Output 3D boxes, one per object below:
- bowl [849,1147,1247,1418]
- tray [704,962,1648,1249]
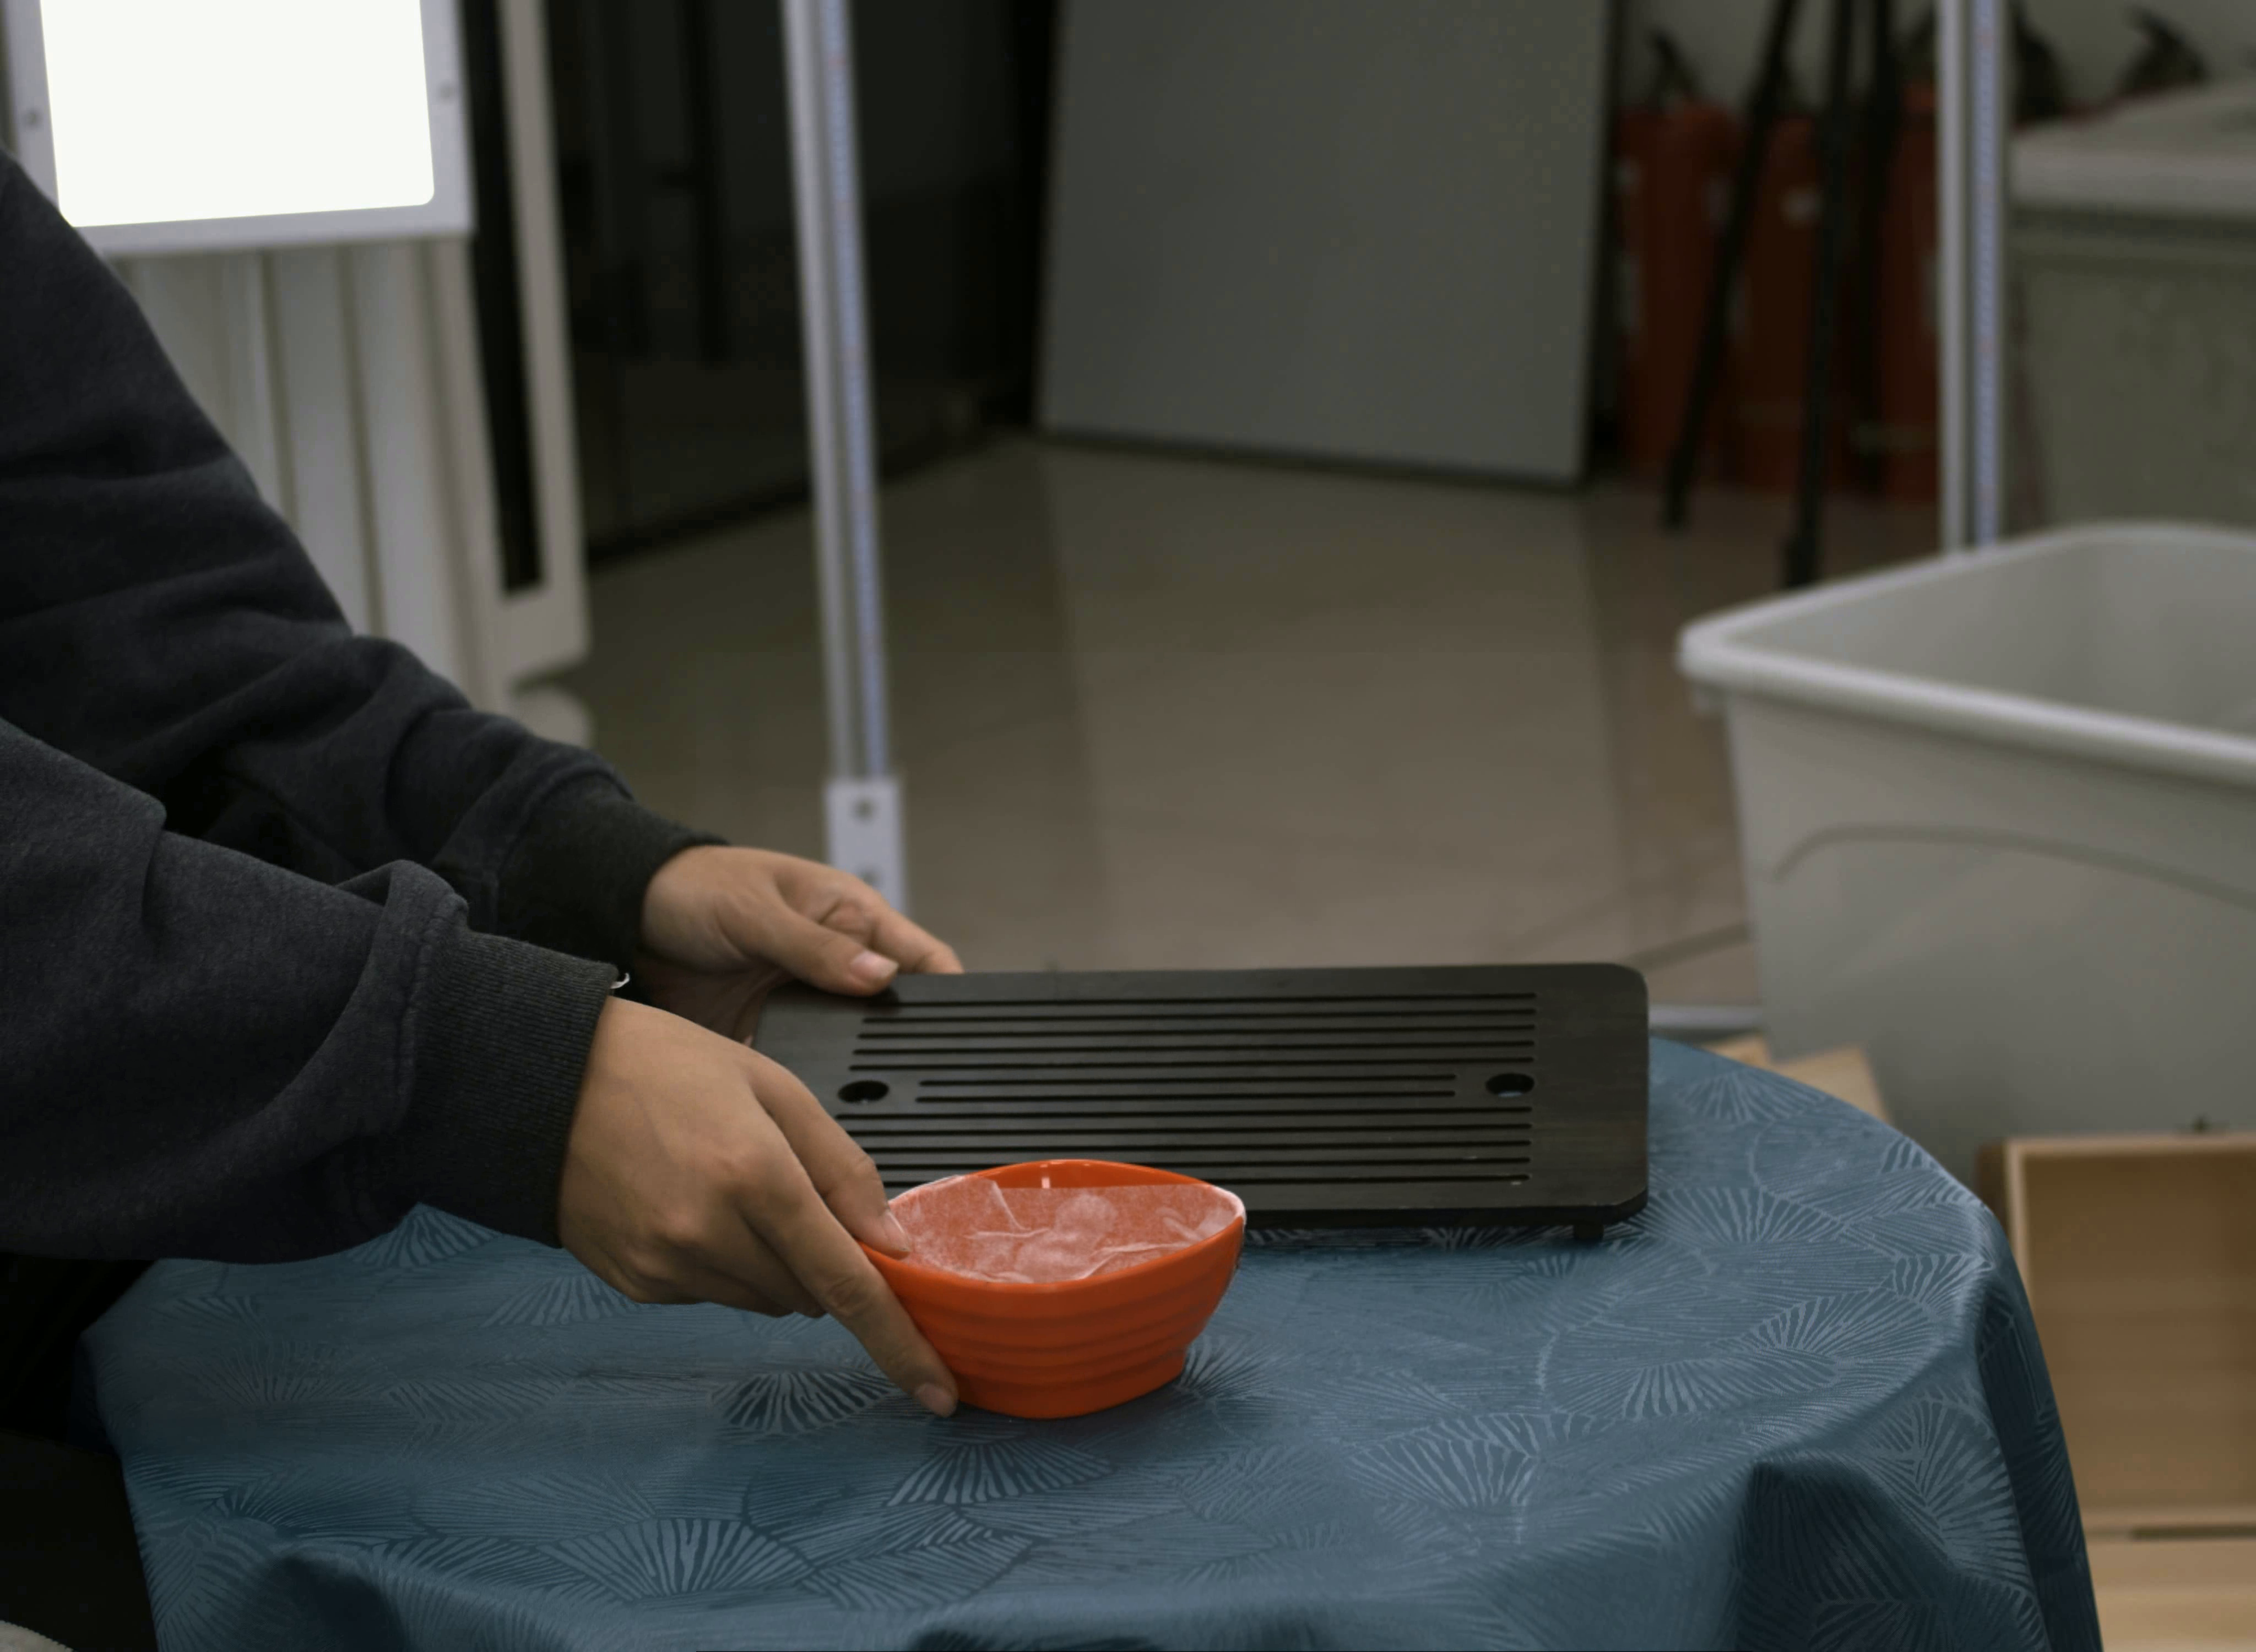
[{"bbox_3d":[-0.022,0.137,1.593,0.117,0.052,0.119,-4,15,0],"label":"bowl"},{"bbox_3d":[0.020,0.092,1.776,0.303,0.019,0.170,-2,25,7],"label":"tray"}]
